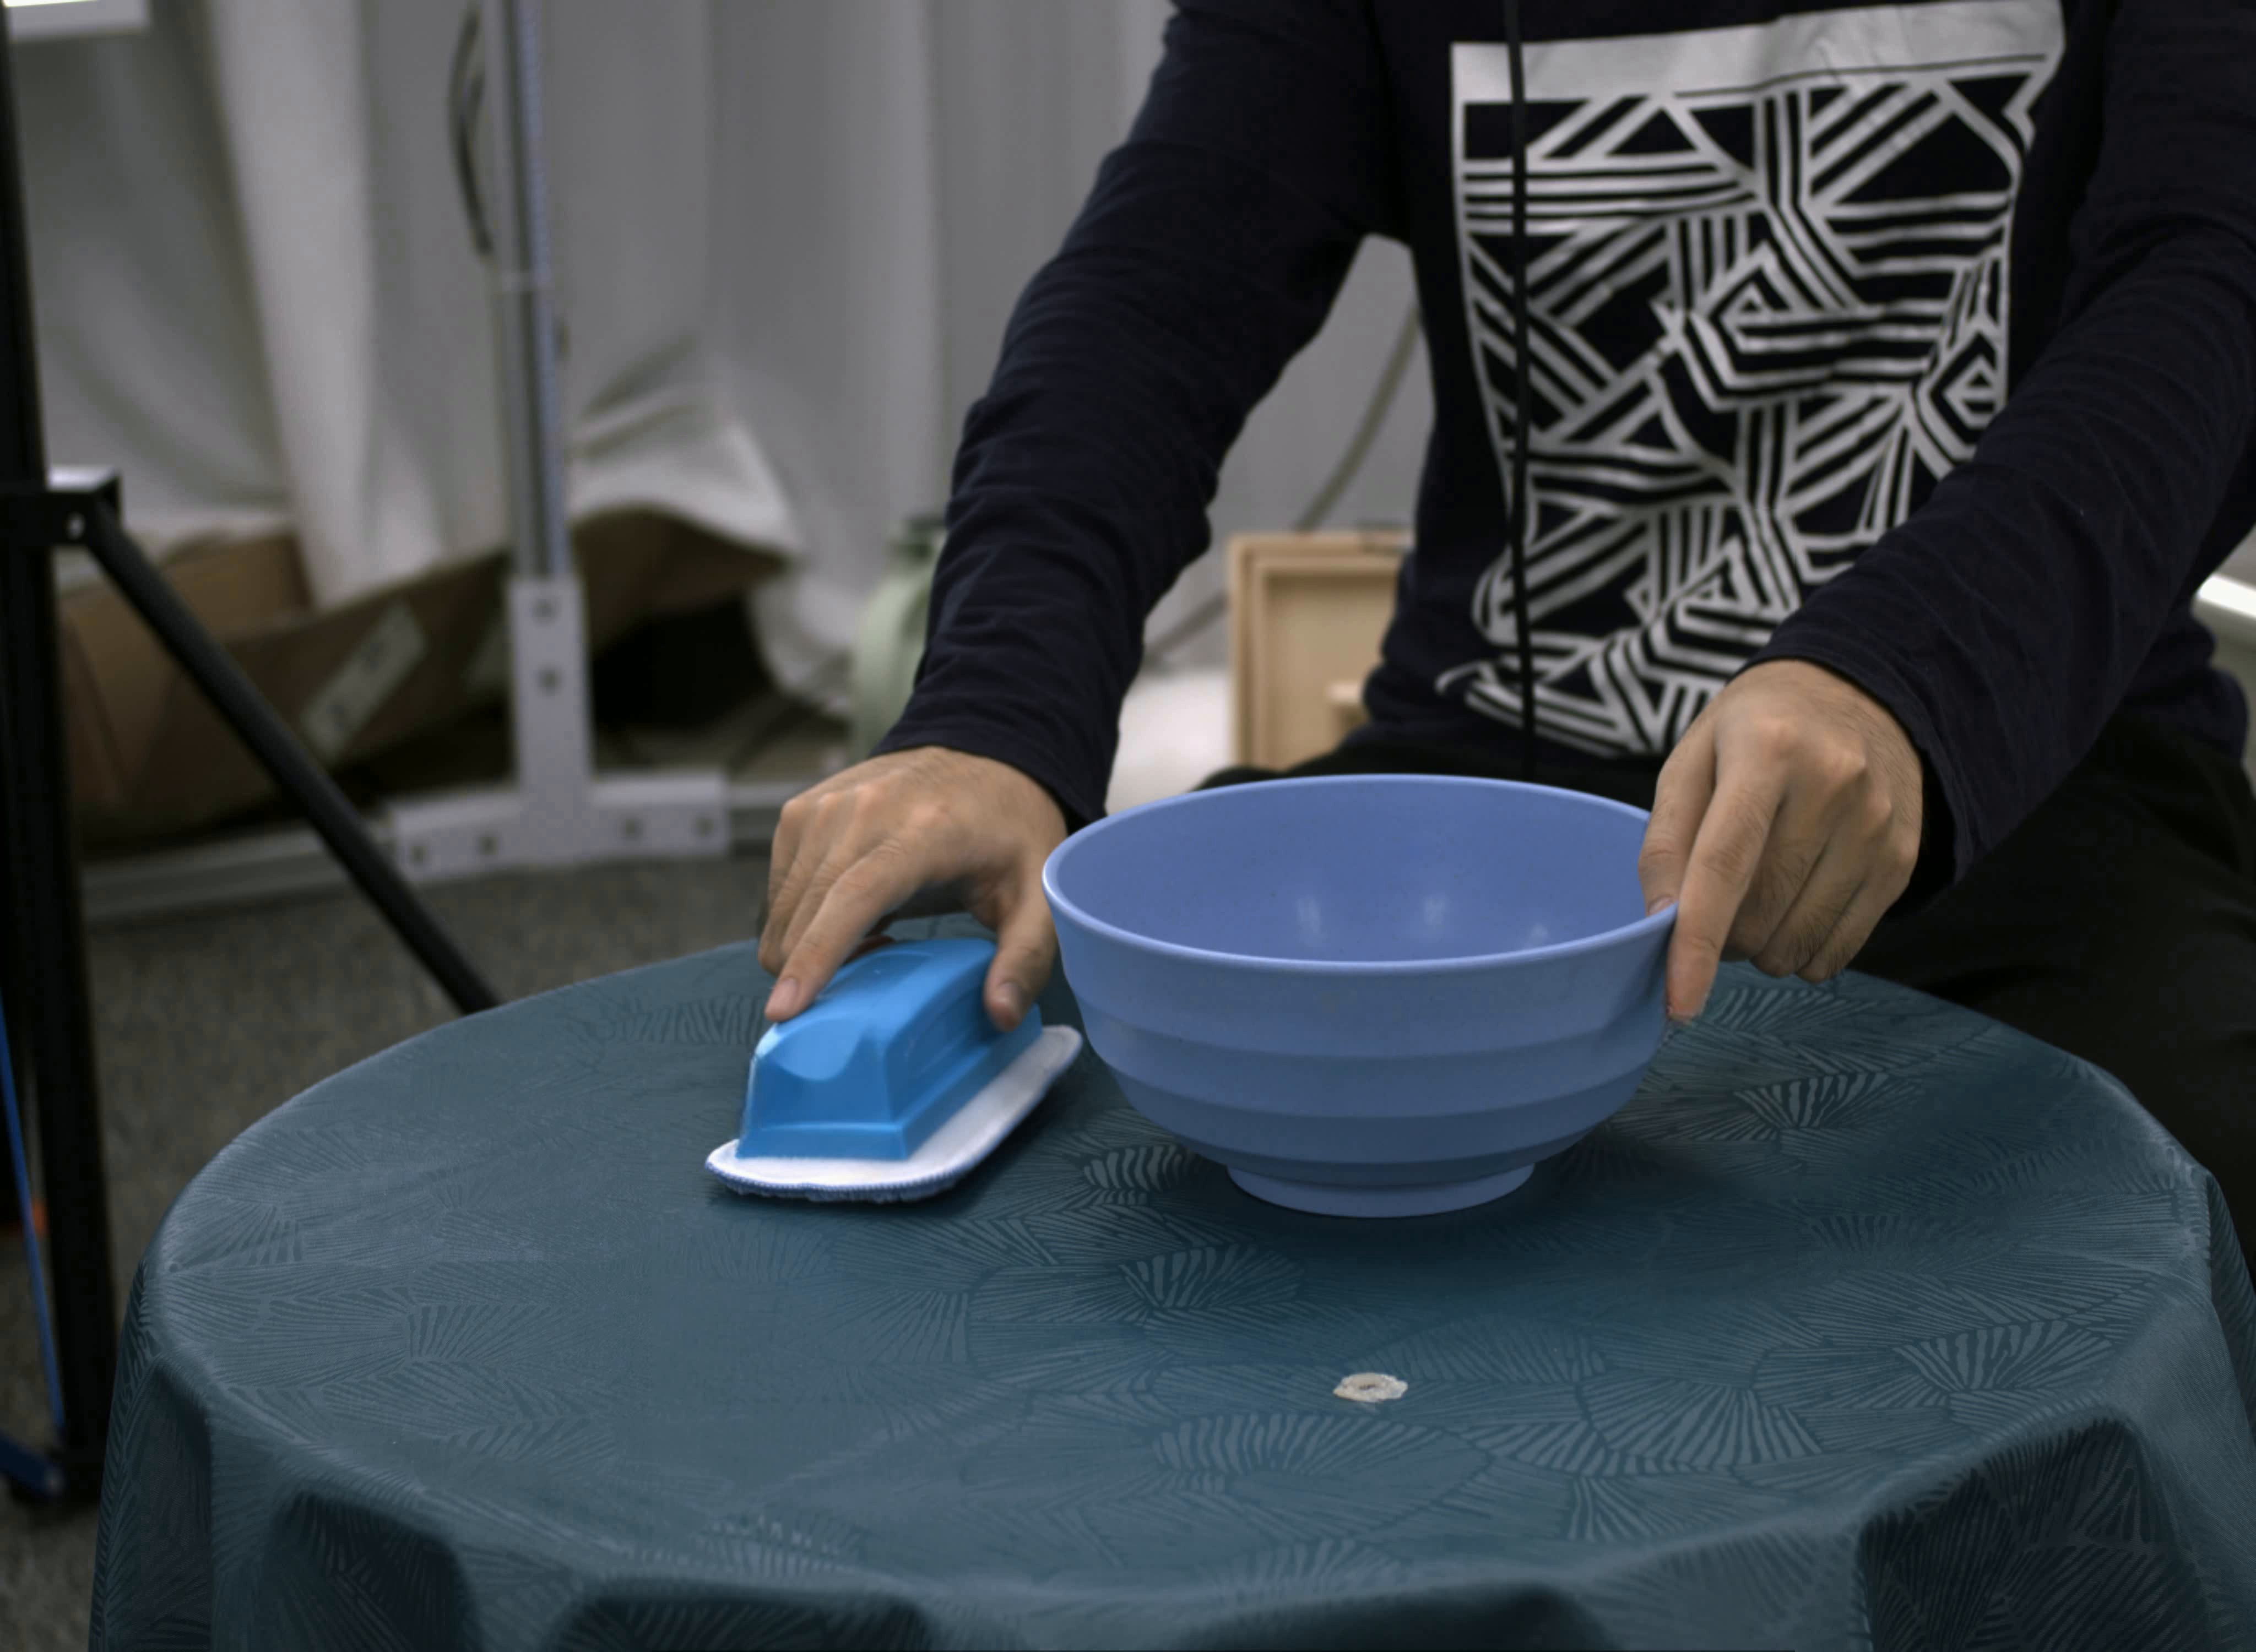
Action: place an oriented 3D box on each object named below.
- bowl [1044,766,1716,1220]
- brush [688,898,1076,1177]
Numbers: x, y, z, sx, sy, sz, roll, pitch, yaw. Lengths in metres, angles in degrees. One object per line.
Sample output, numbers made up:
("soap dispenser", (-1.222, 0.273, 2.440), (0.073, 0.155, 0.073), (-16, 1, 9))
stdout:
("bowl", (0.074, 0.055, 1.560), (0.195, 0.095, 0.197), (-2, 17, -1))
("brush", (-0.074, 0.061, 1.621), (0.085, 0.056, 0.142), (2, 19, 21))
